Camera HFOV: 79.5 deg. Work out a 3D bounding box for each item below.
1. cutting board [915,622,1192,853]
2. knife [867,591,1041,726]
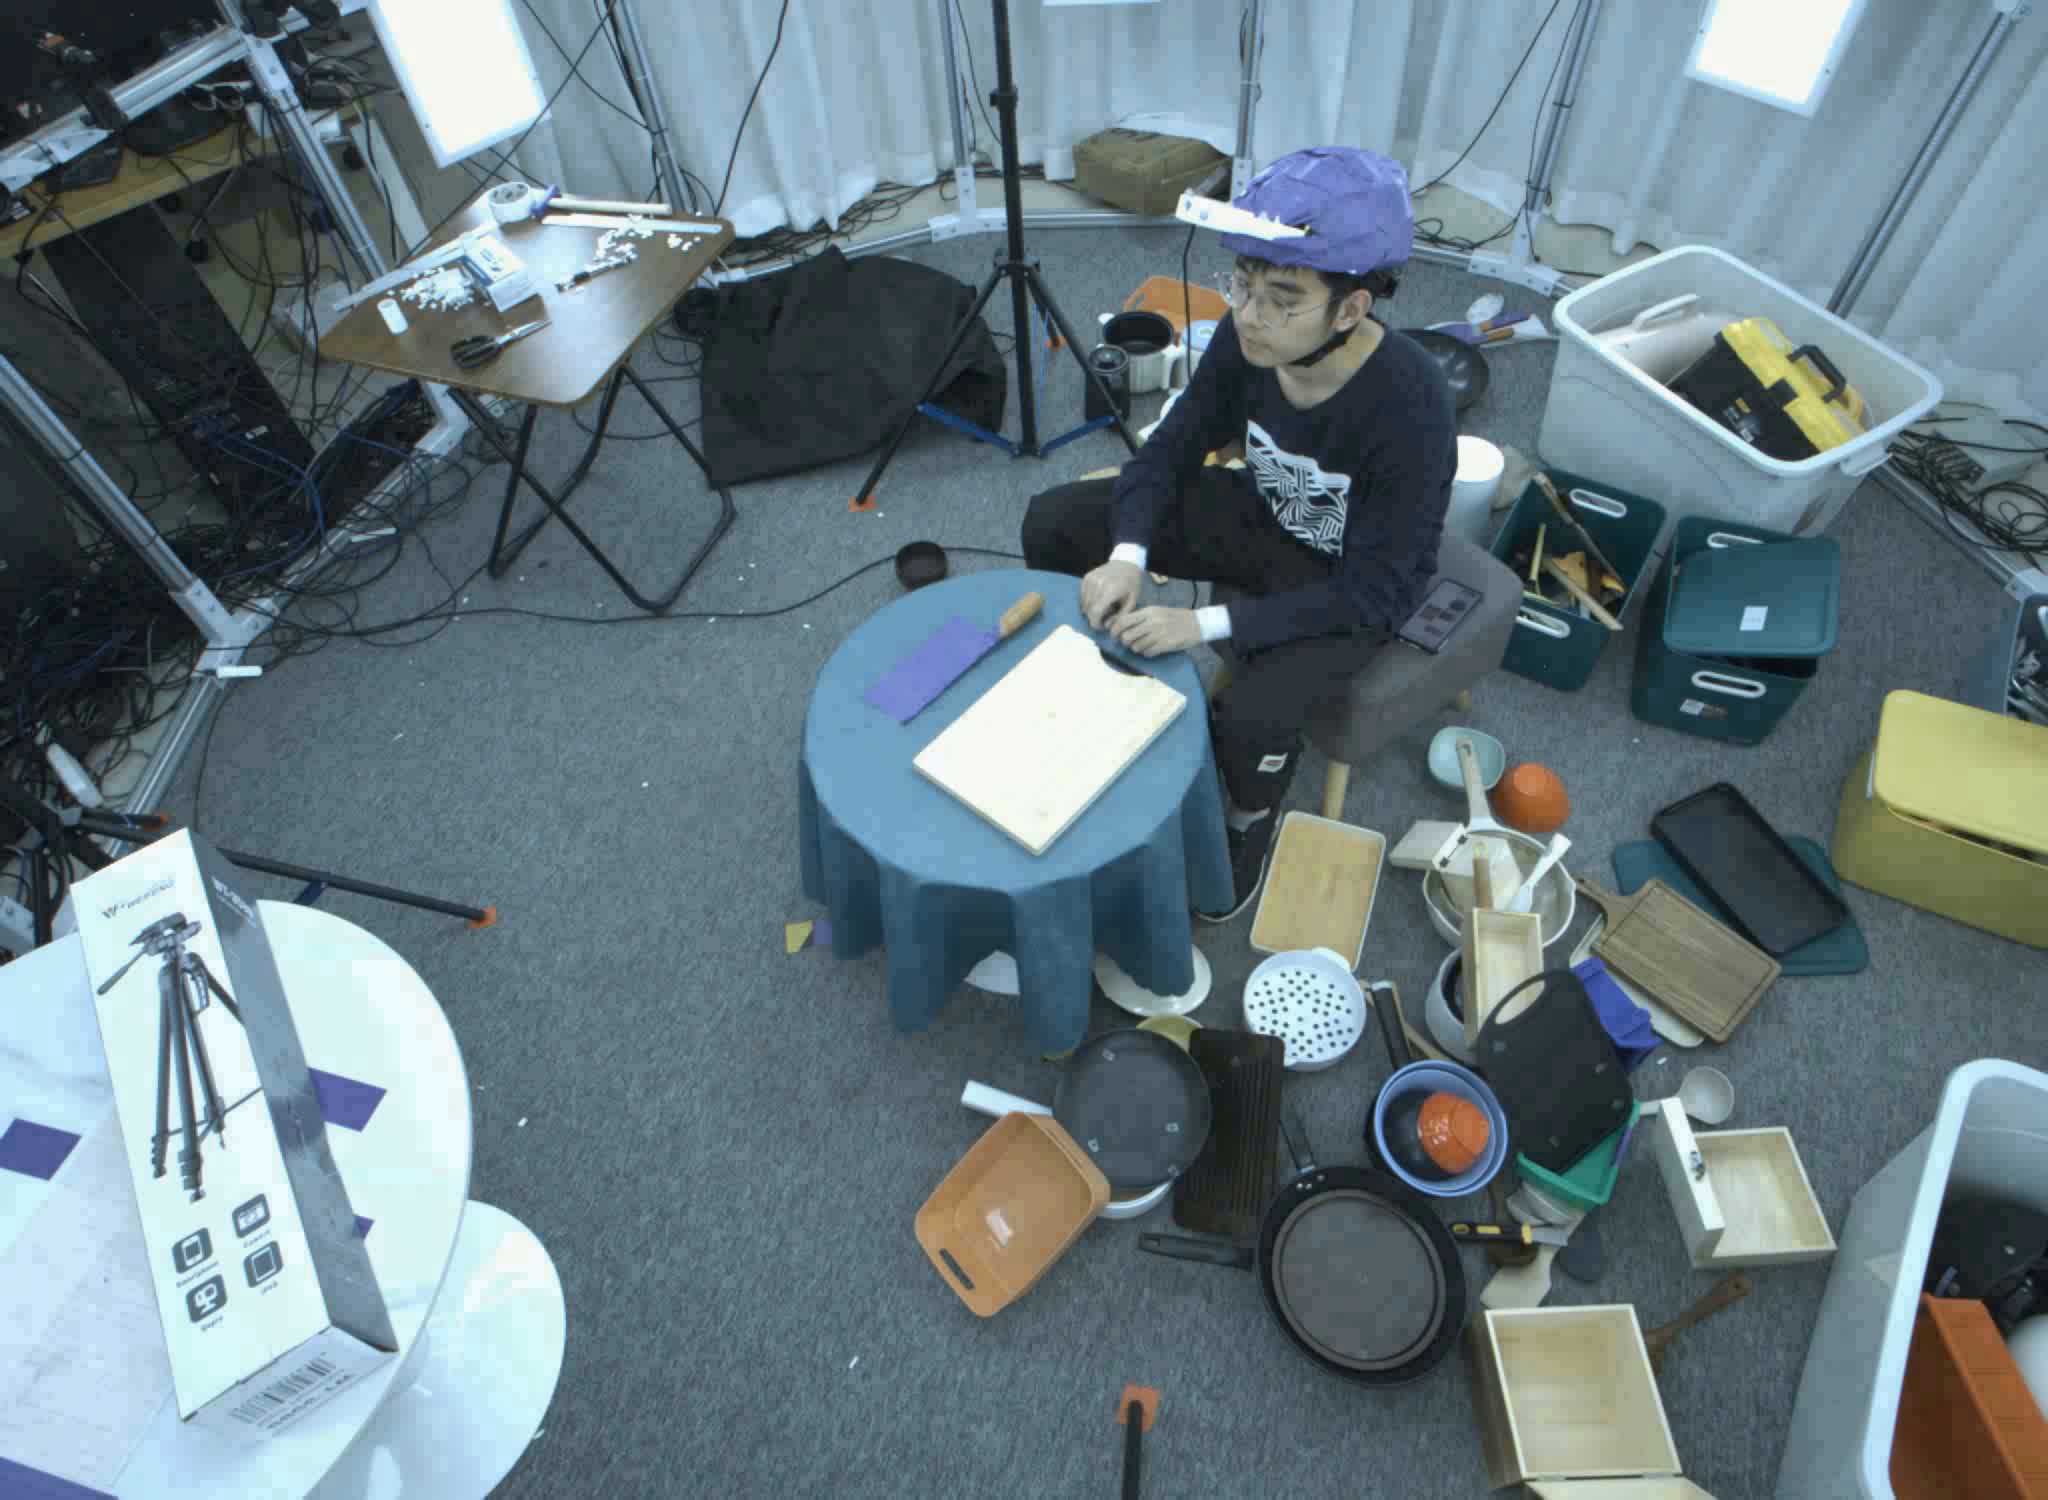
[{"bbox_3d":[0.044,-0.029,1.805,0.246,0.024,0.351,34,62,23],"label":"cutting board"},{"bbox_3d":[-0.109,-0.160,1.896,0.102,0.032,0.317,36,63,23],"label":"knife"}]
